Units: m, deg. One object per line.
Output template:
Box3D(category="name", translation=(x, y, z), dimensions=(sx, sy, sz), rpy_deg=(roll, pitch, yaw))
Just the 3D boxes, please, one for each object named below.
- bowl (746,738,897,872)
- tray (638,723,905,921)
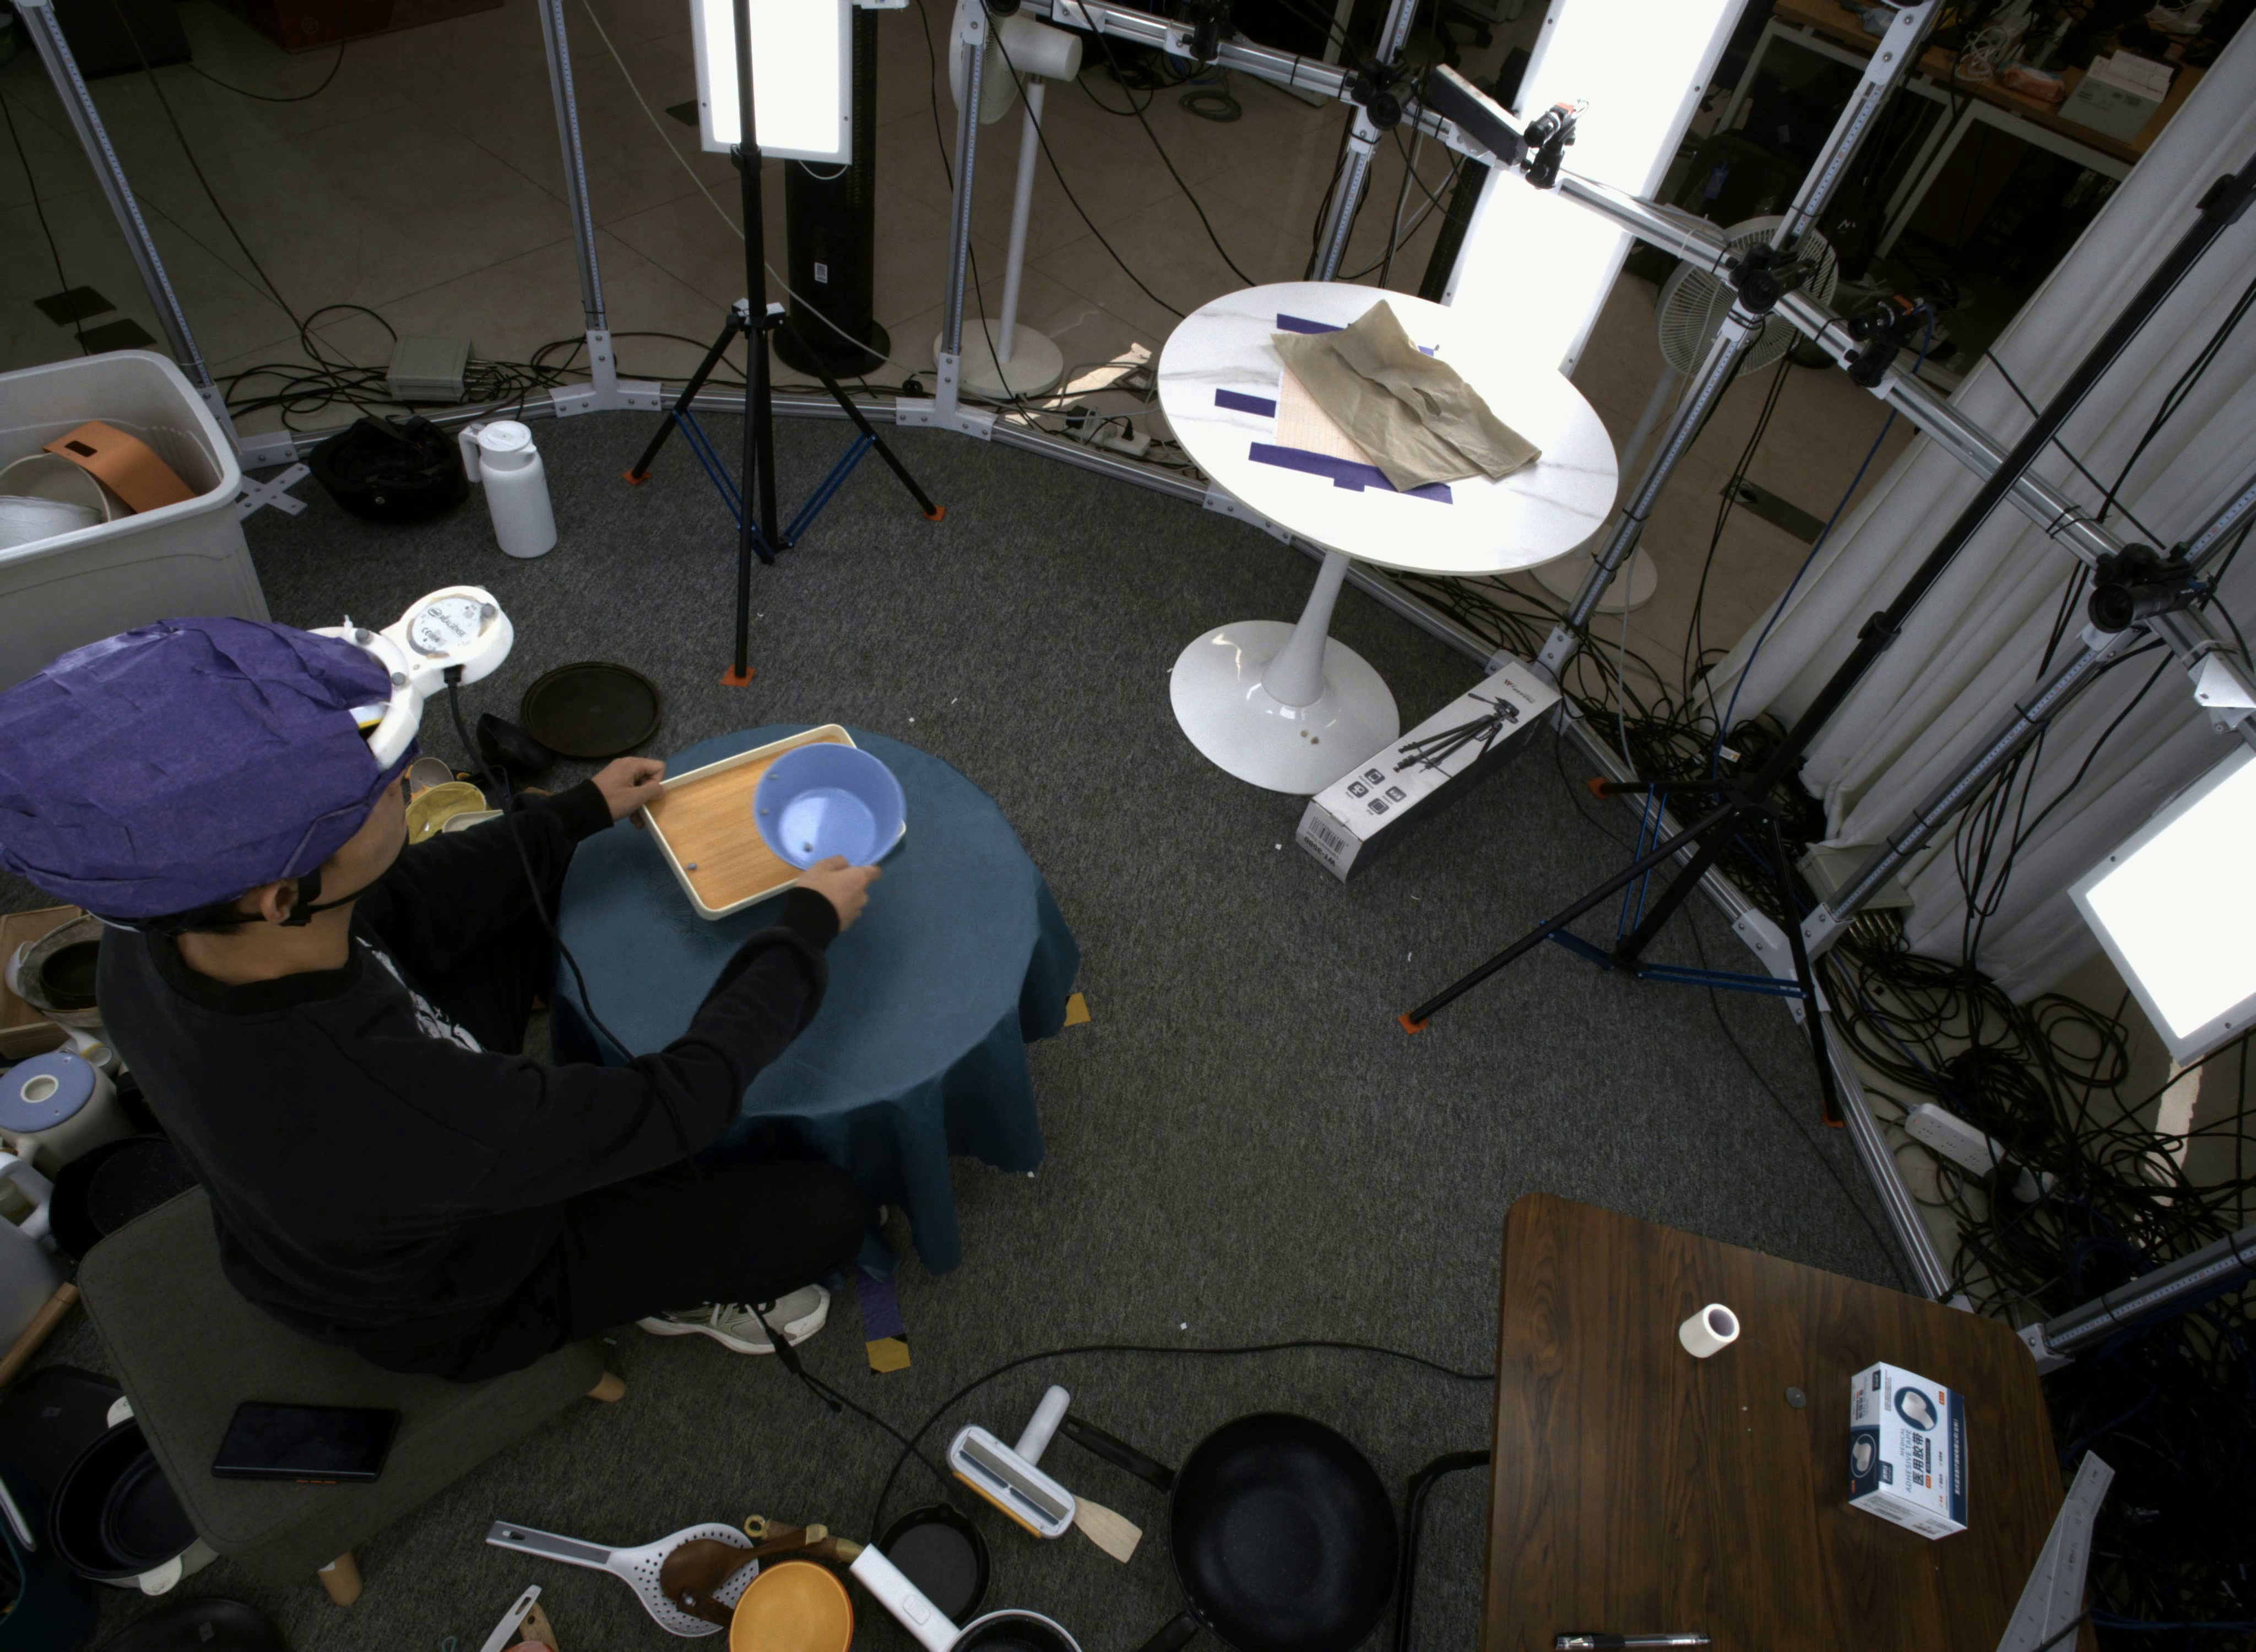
Box3D(category="bowl", translation=(-0.367, -0.013, 1.557), dimensions=(0.176, 0.071, 0.174), rpy_deg=(7, 62, -12))
Box3D(category="tray", translation=(-0.455, -0.013, 1.664), dimensions=(0.302, 0.027, 0.190), rpy_deg=(-25, 77, -39))
